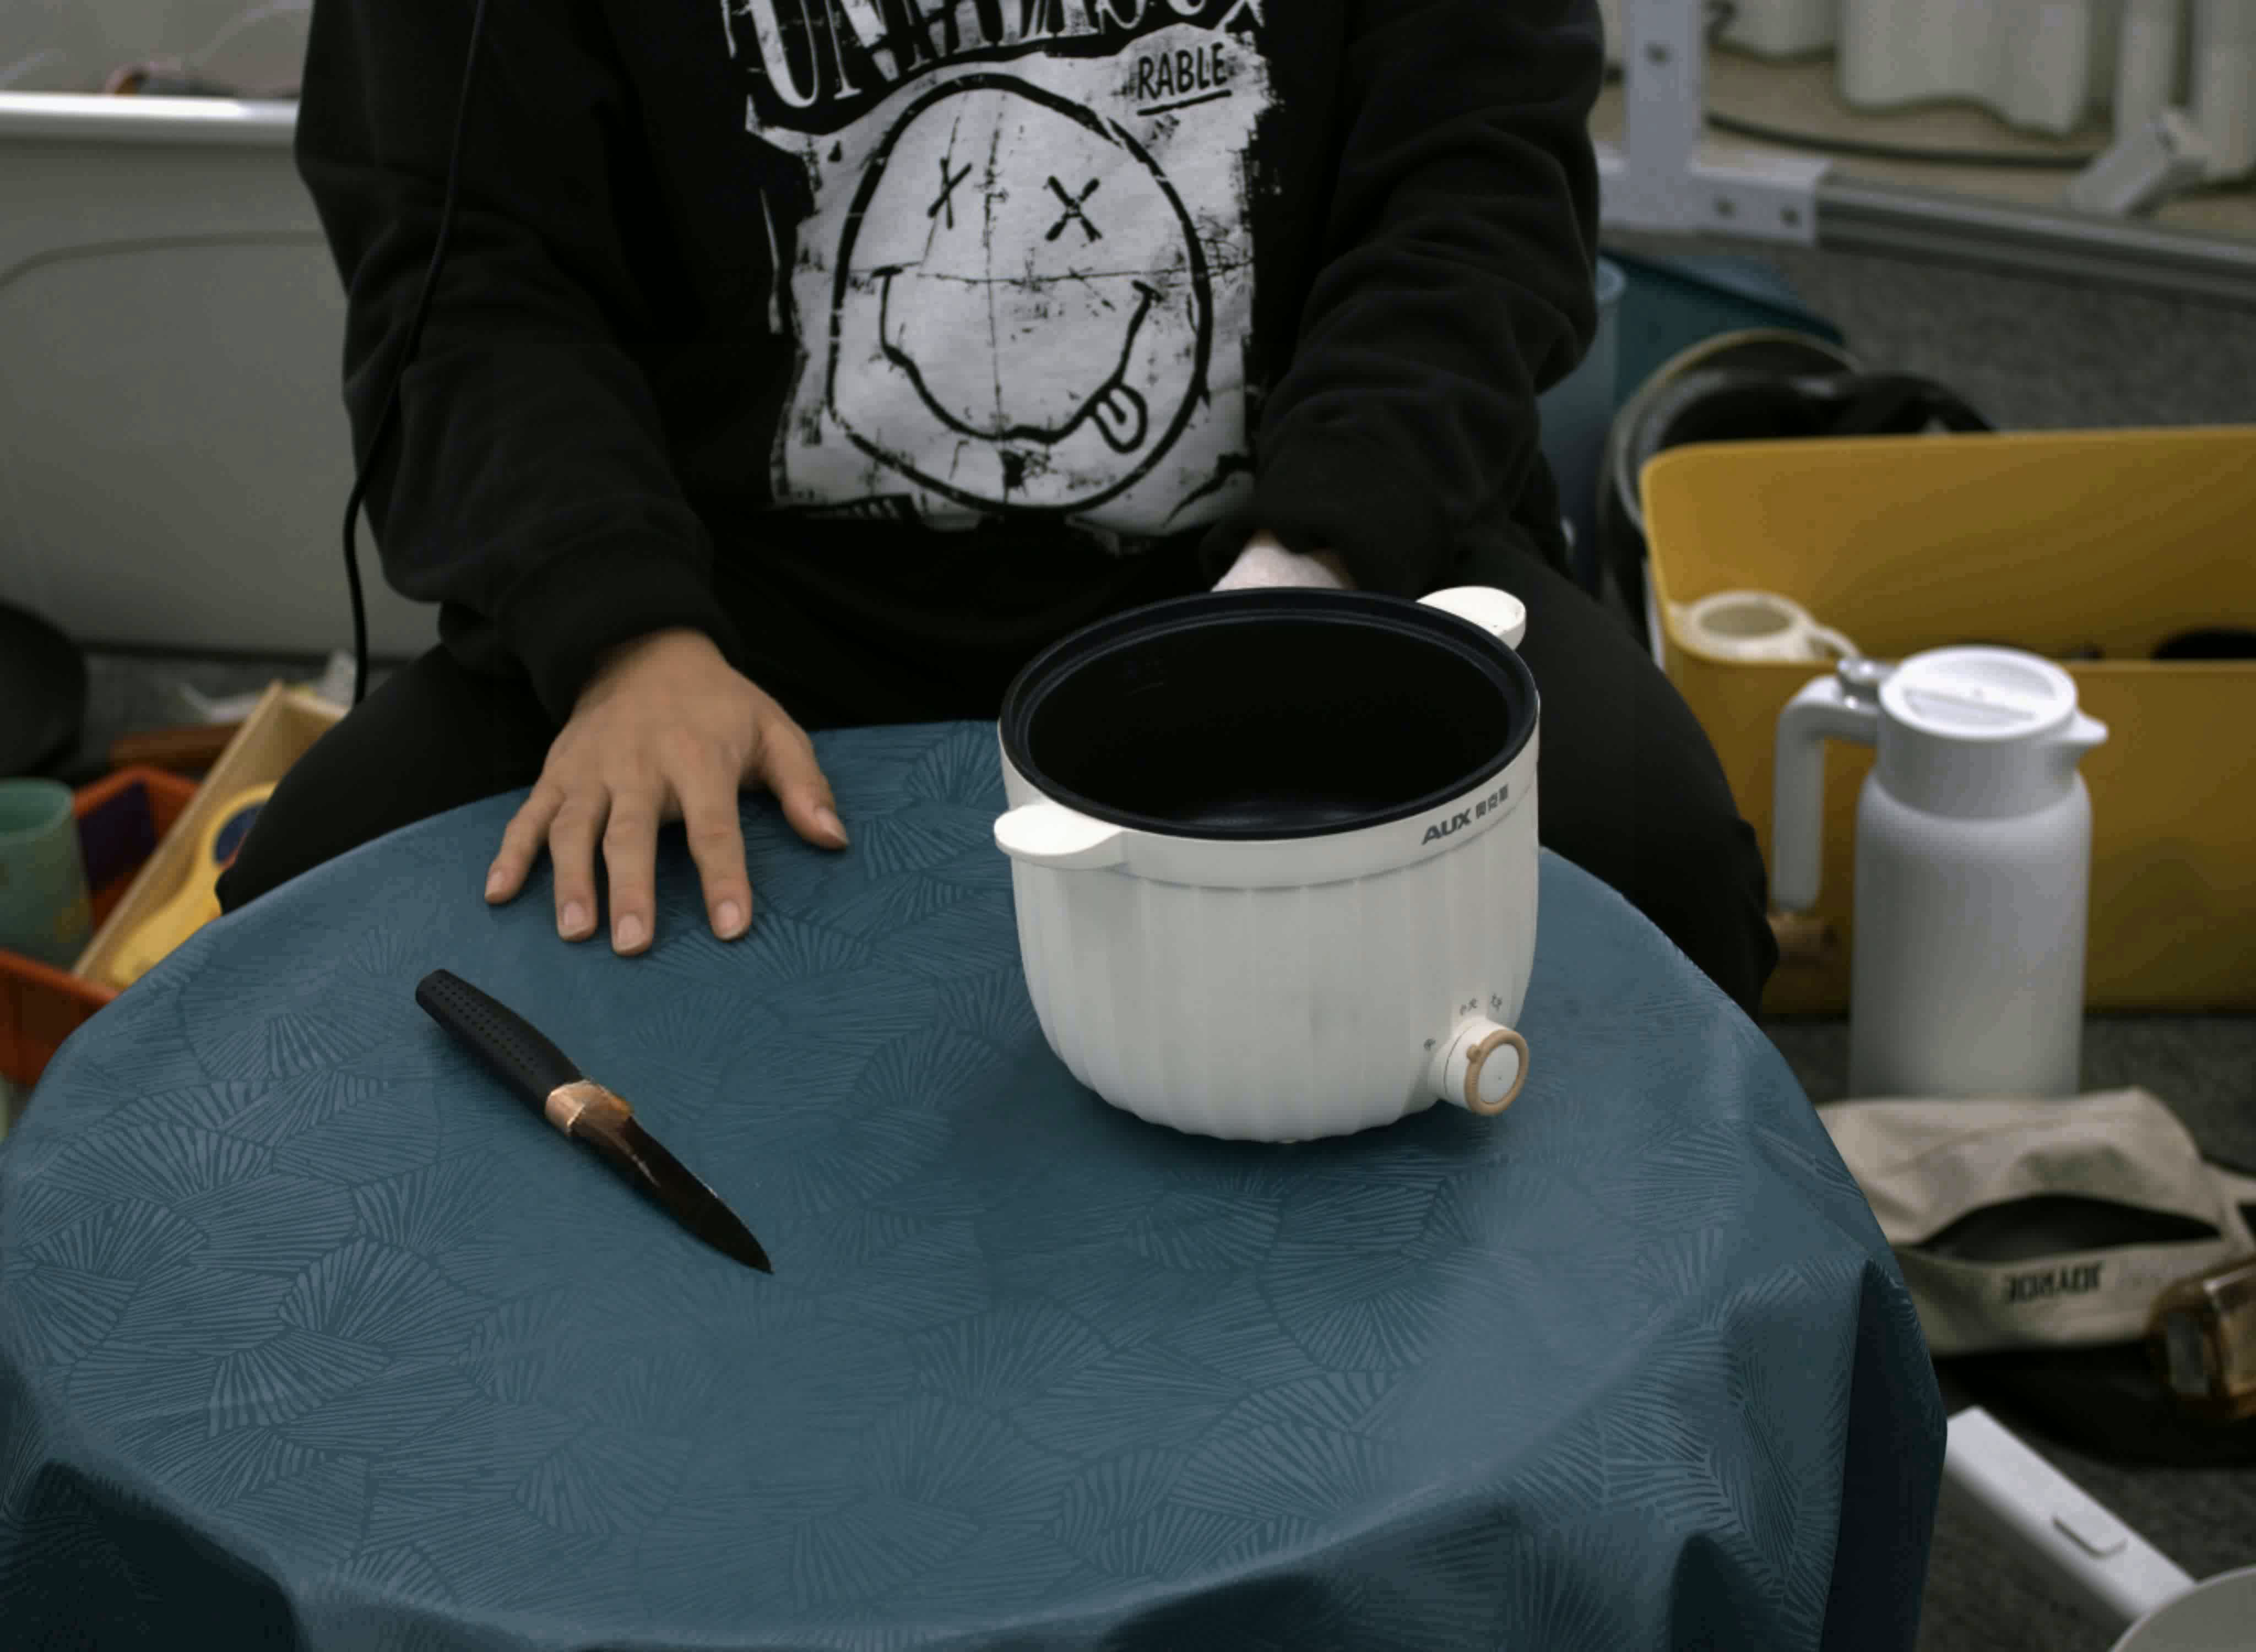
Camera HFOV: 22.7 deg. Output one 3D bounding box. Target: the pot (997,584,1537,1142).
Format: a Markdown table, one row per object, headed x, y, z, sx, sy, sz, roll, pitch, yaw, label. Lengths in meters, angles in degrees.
| x | y | z | sx | sy | sz | roll | pitch | yaw | label |
| --- | --- | --- | --- | --- | --- | --- | --- | --- | --- |
| 0.055 | 0.018 | 1.904 | 0.190 | 0.141 | 0.243 | 18 | 34 | 41 | pot |

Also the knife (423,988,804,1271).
| x | y | z | sx | sy | sz | roll | pitch | yaw | label |
| --- | --- | --- | --- | --- | --- | --- | --- | --- | --- |
| -0.177 | 0.103 | 1.903 | 0.026 | 0.017 | 0.226 | -4 | 24 | -37 | knife |
